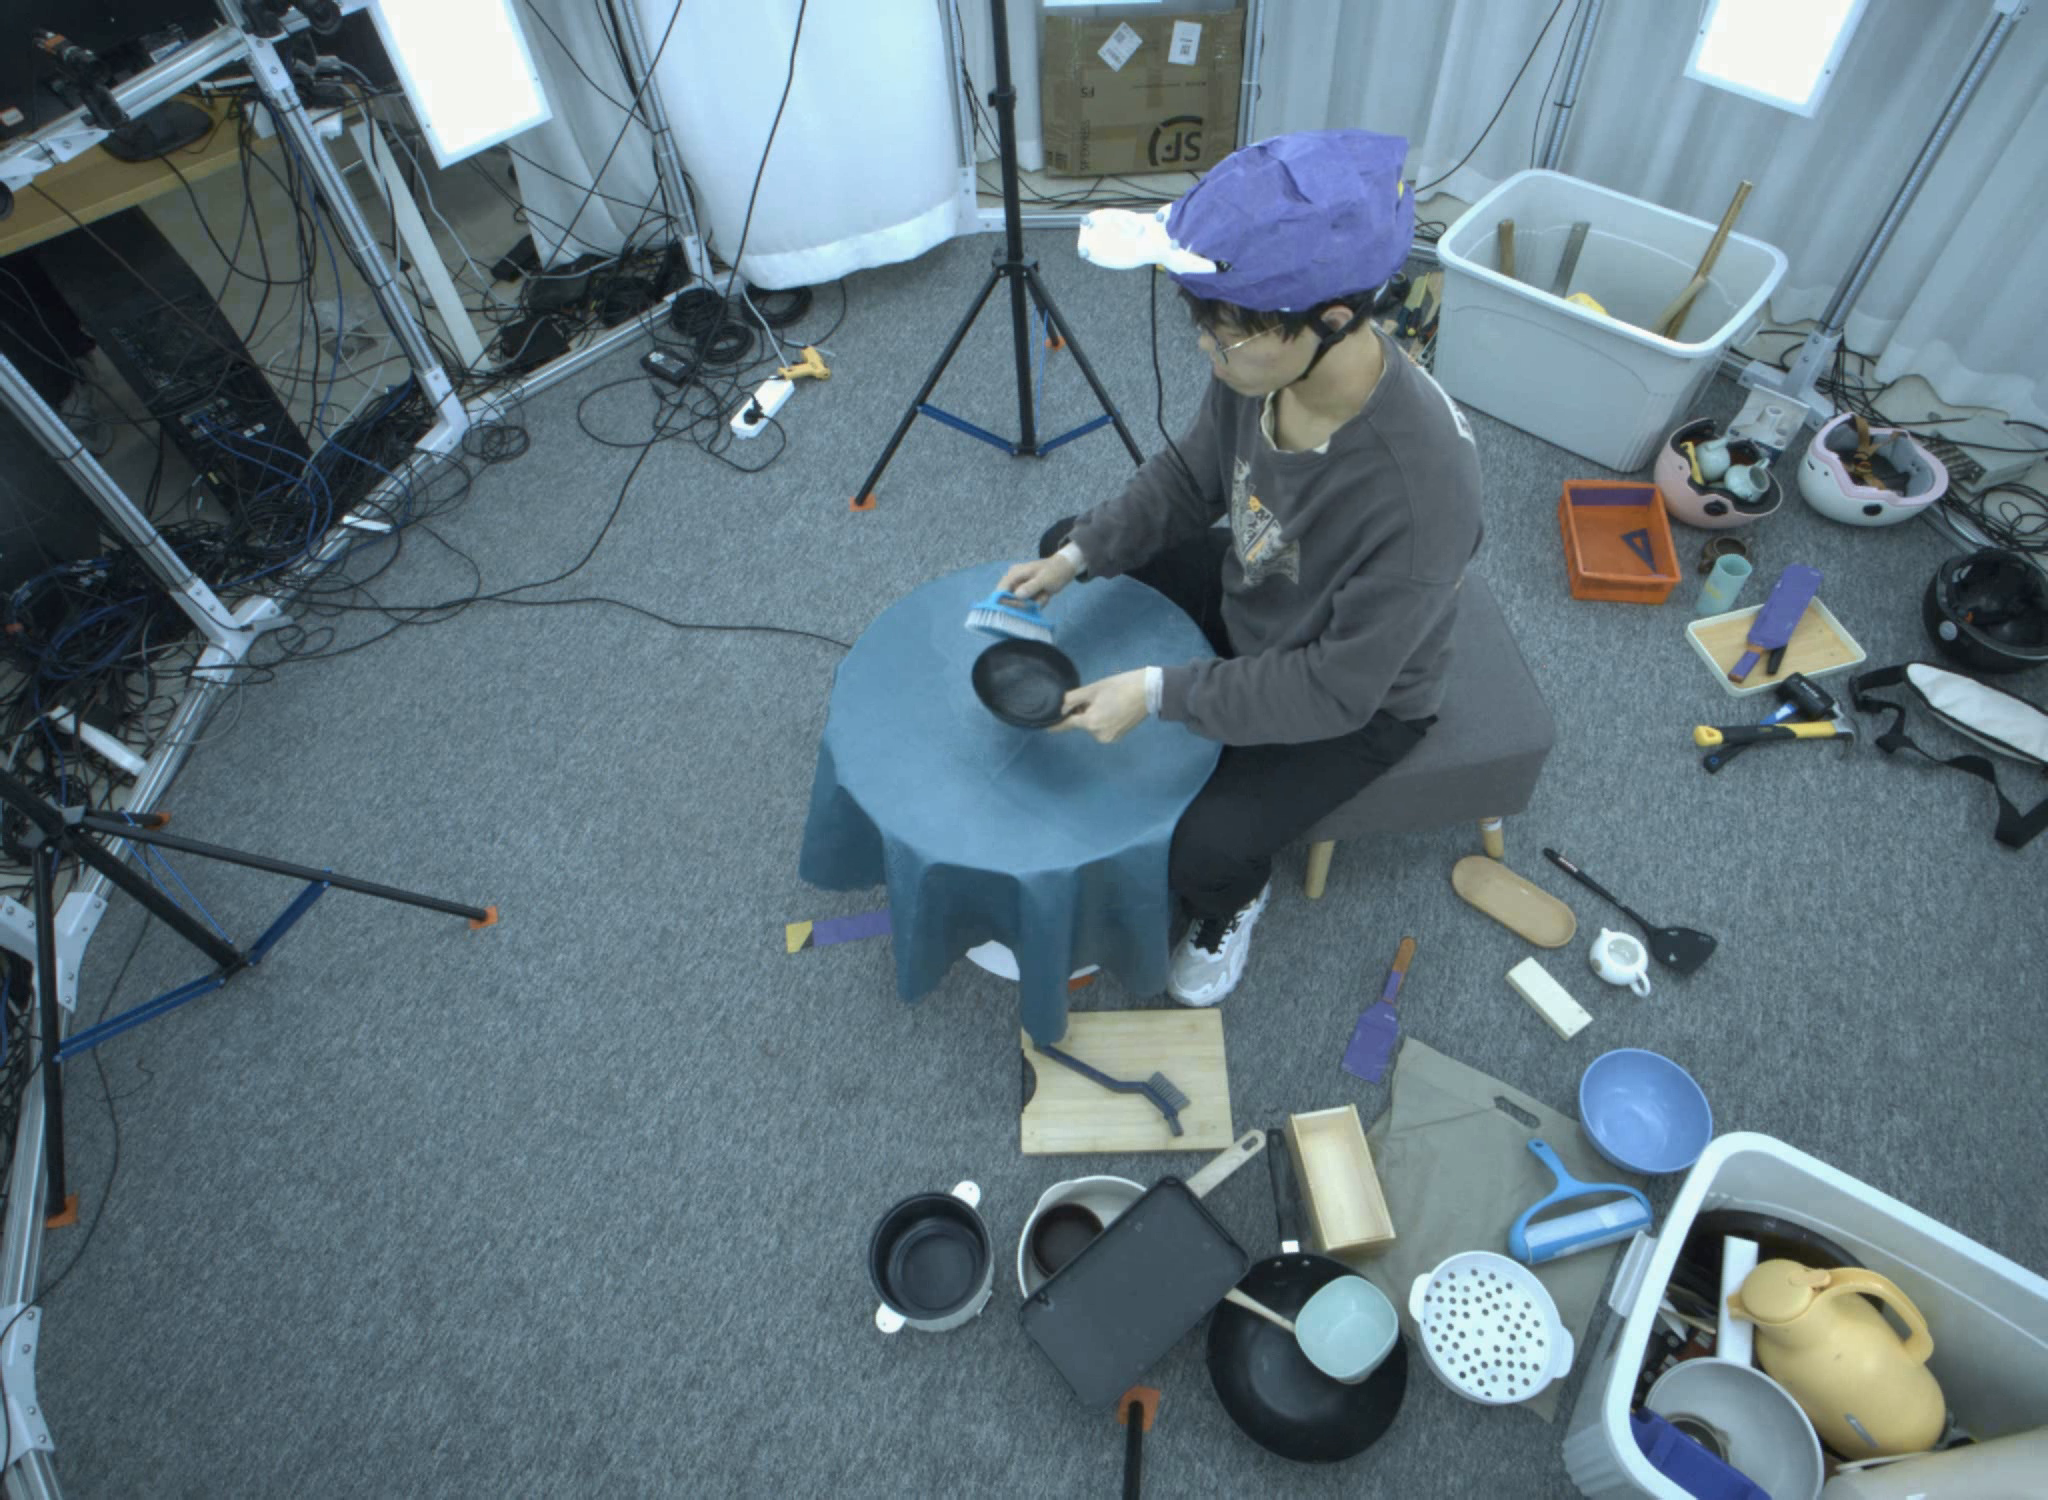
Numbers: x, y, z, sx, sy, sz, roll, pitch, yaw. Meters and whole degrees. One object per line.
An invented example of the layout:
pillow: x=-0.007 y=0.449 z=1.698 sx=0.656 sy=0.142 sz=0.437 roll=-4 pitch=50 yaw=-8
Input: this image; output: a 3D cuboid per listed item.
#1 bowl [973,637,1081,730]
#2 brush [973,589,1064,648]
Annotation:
bowl: x=0.004 y=-0.083 z=1.728 sx=0.167 sy=0.067 sz=0.138 roll=36 pitch=68 yaw=23
brush: x=-0.009 y=-0.191 z=1.754 sx=0.145 sy=0.083 sz=0.063 roll=15 pitch=77 yaw=-35
